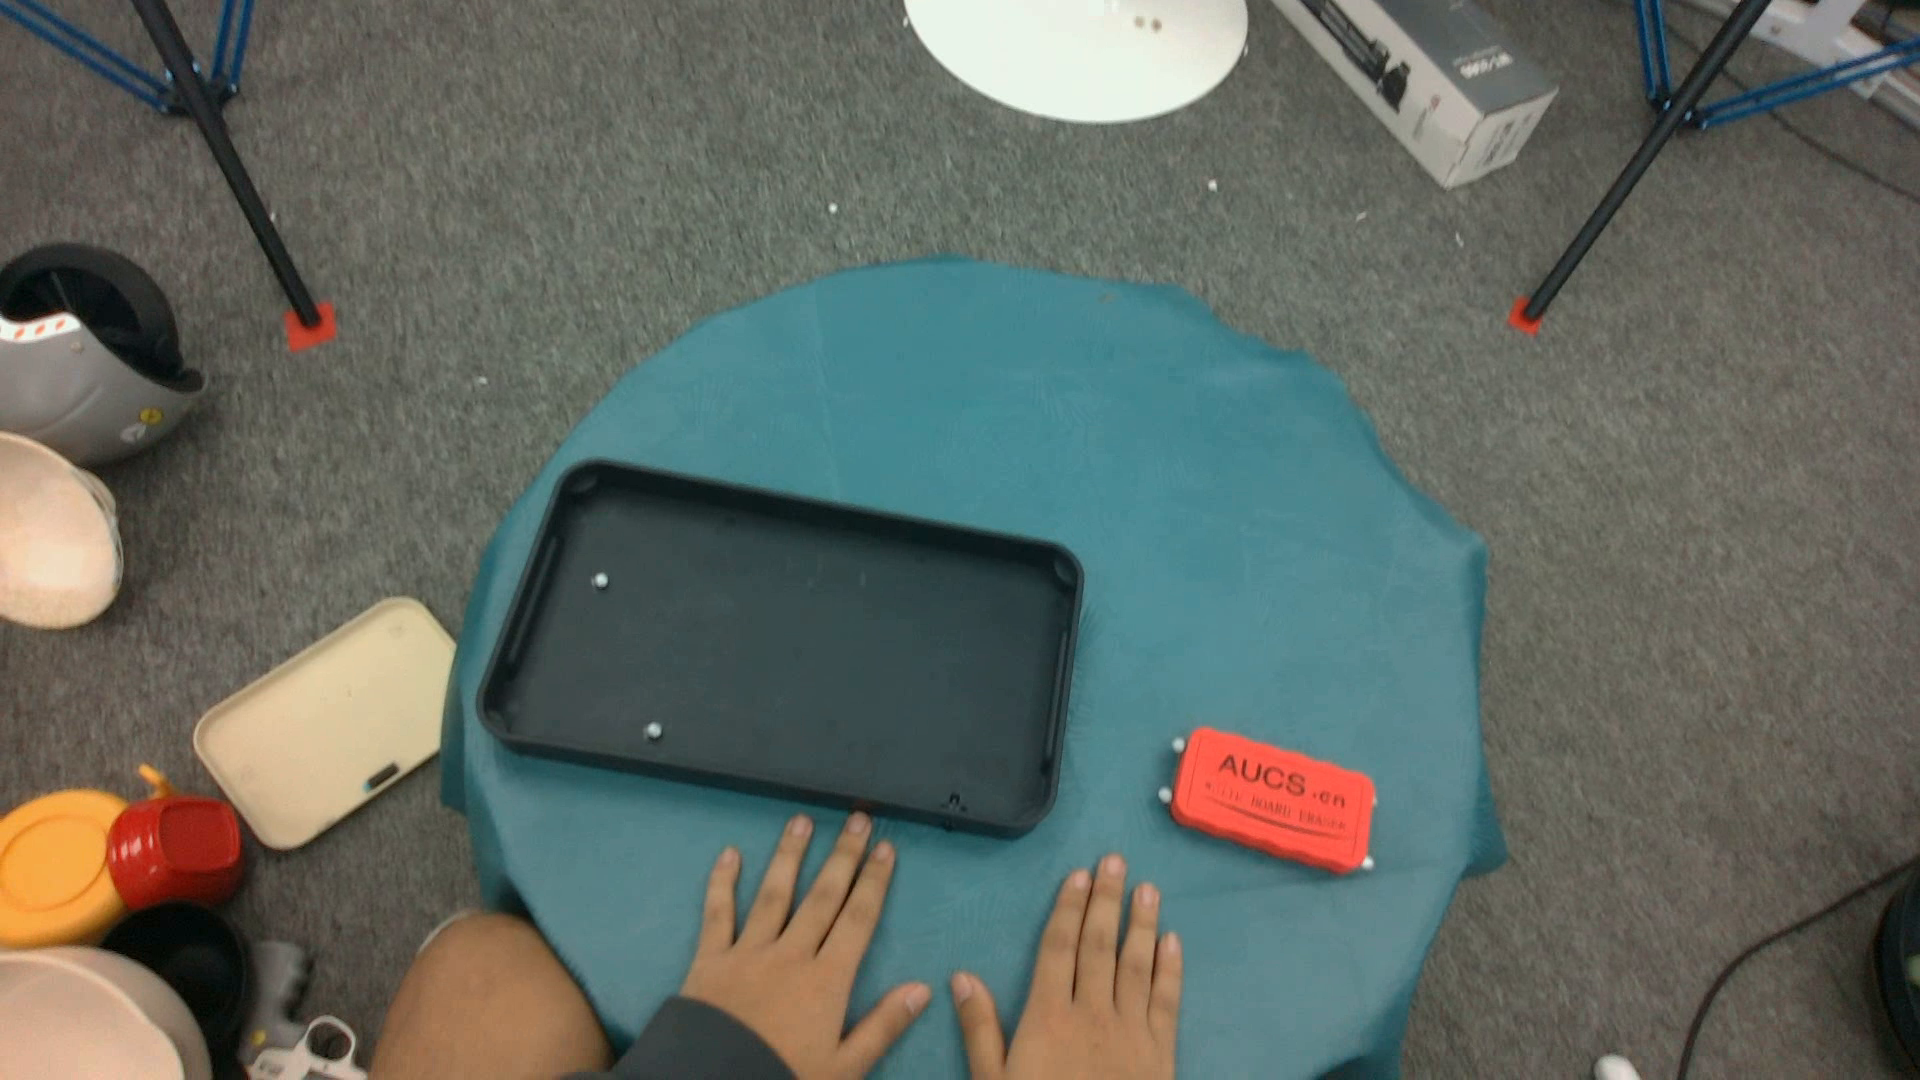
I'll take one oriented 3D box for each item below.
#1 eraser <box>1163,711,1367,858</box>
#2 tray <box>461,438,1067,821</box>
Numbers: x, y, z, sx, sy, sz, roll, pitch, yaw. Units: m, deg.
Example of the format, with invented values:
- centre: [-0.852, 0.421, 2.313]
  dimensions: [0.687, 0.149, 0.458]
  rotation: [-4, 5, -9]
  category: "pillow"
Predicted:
- centre: [0.173, 0.139, 0.780]
  dimensions: [0.108, 0.023, 0.059]
  rotation: [17, 67, 1]
  category: "eraser"
- centre: [-0.103, 0.050, 0.791]
  dimensions: [0.318, 0.037, 0.185]
  rotation: [10, 61, -3]
  category: "tray"
